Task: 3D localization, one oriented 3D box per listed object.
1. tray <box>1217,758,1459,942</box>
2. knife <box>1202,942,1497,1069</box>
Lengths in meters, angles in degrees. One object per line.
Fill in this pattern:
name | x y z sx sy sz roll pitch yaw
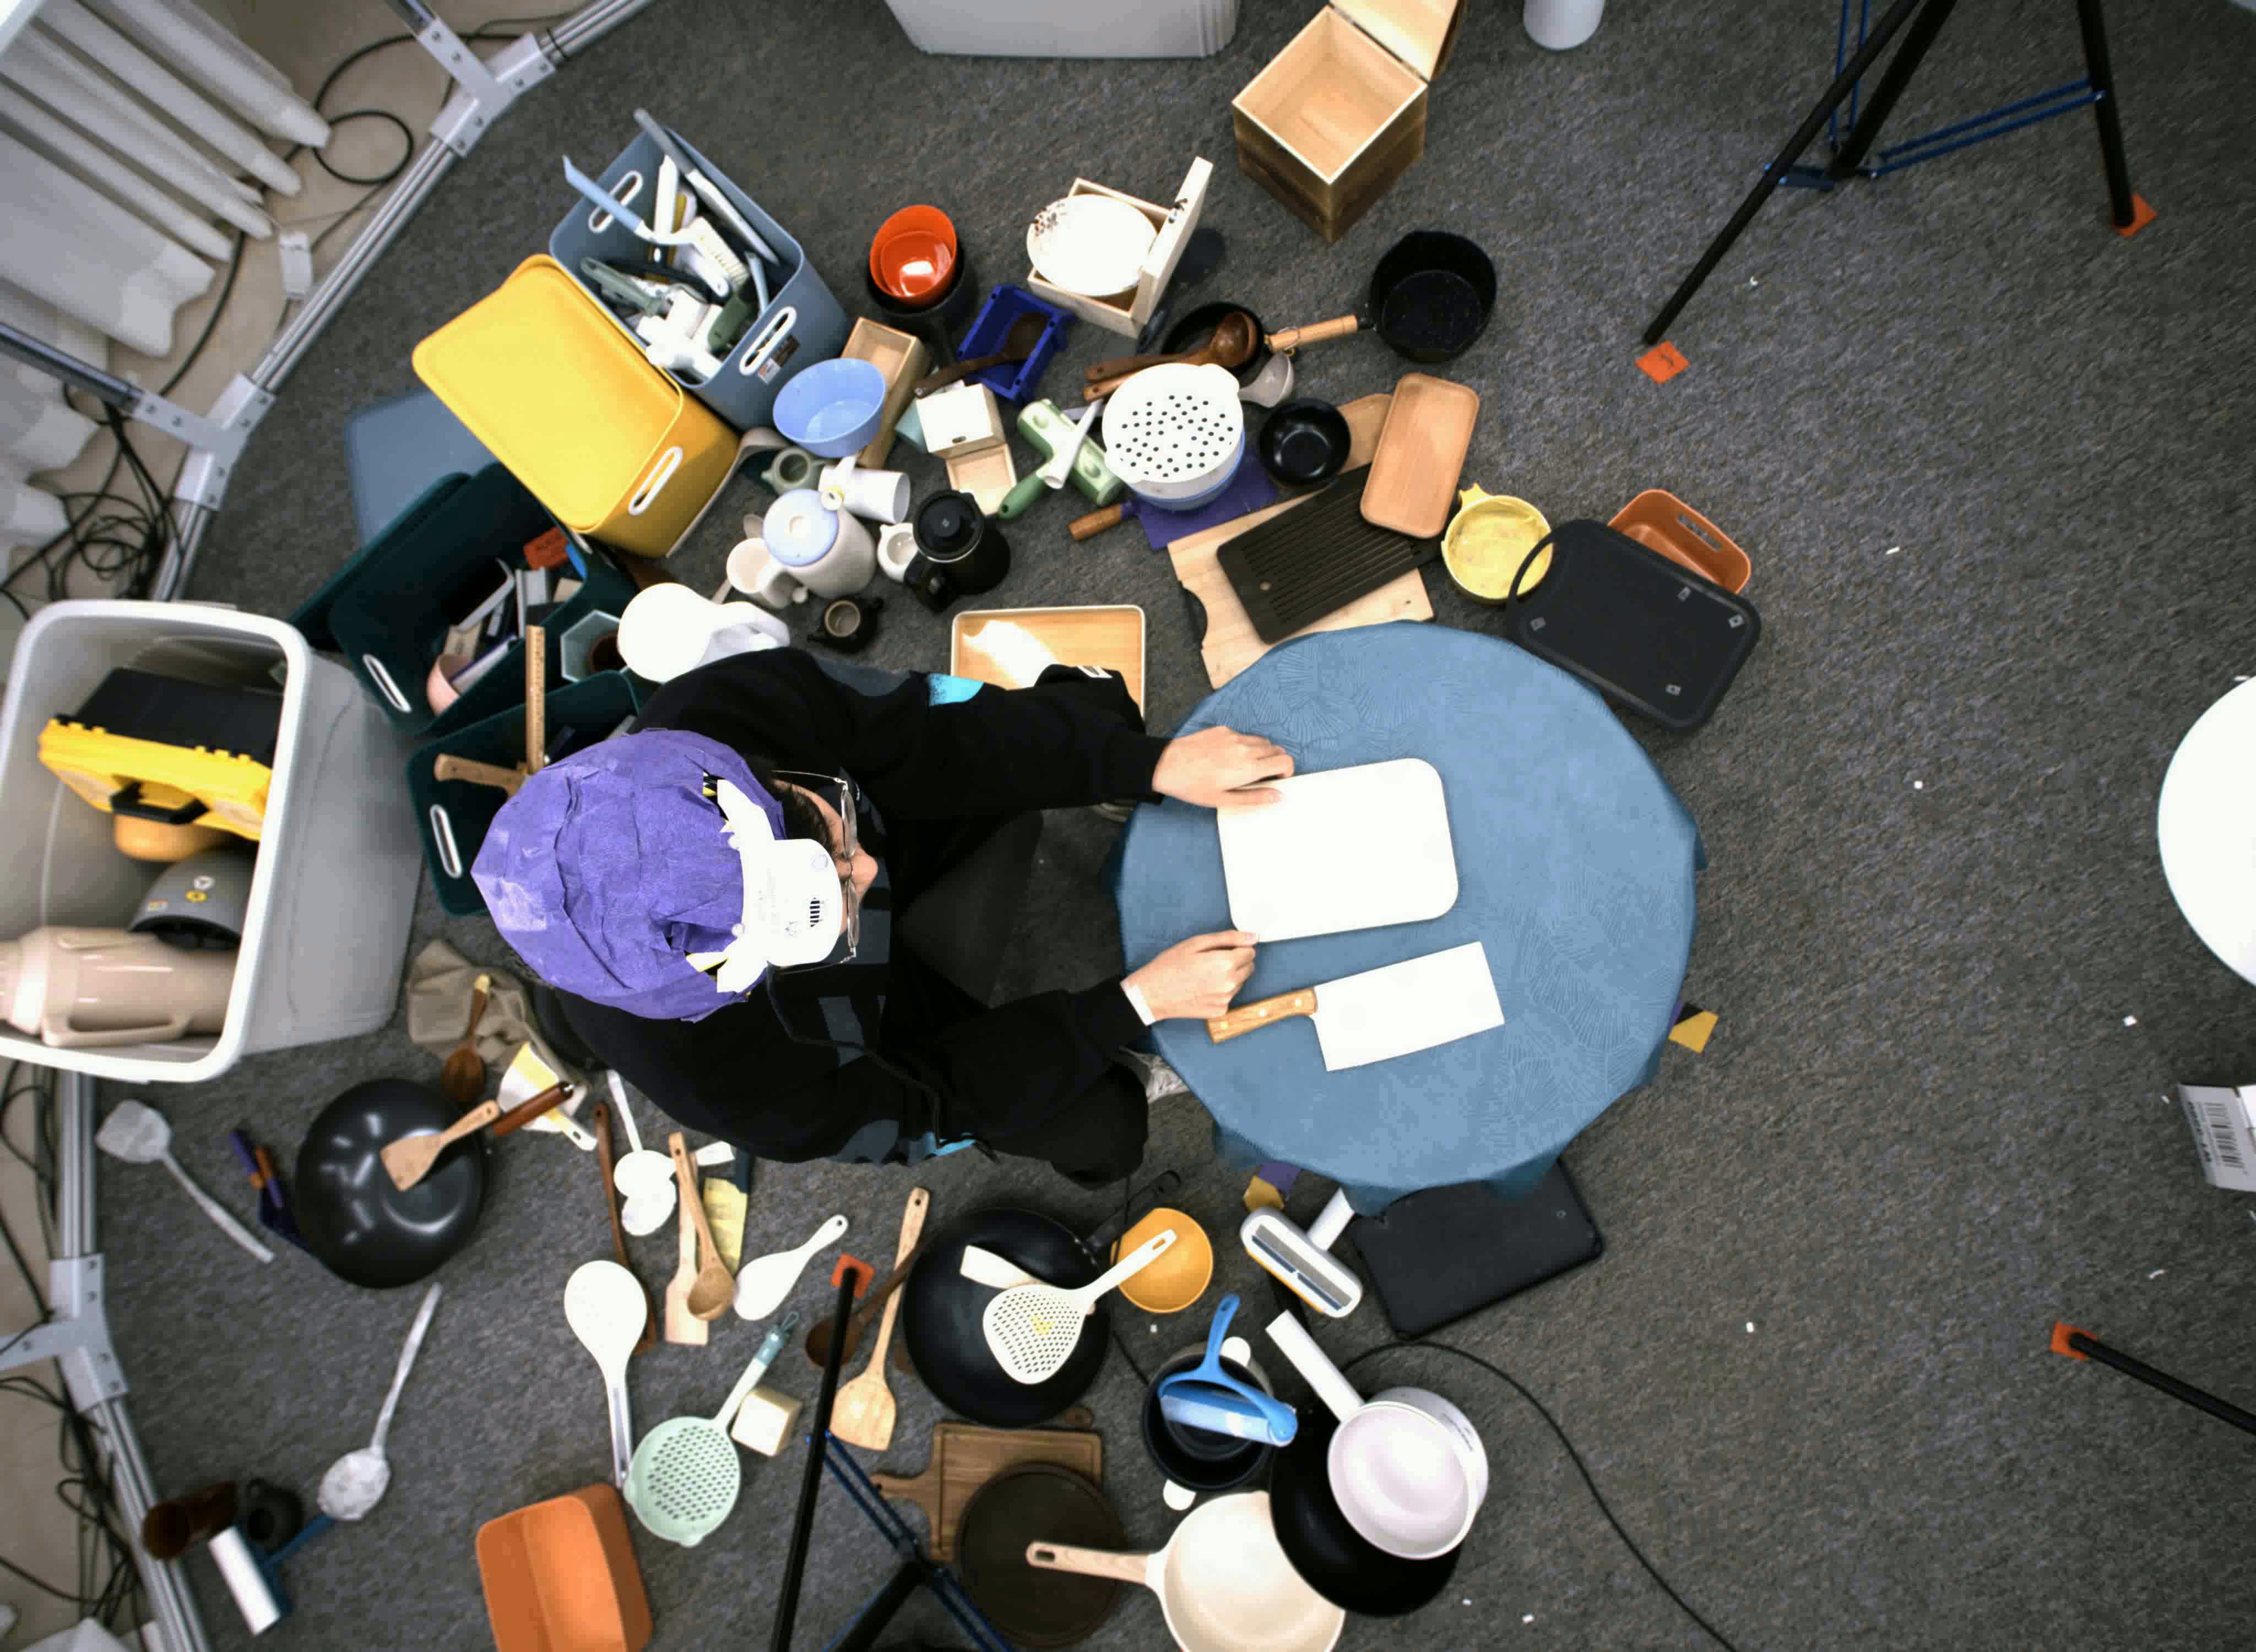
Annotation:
tray | 0.221 0.026 1.462 0.241 0.017 0.170 -9 86 10
knife | 0.233 0.201 1.452 0.307 0.021 0.092 -16 85 7
